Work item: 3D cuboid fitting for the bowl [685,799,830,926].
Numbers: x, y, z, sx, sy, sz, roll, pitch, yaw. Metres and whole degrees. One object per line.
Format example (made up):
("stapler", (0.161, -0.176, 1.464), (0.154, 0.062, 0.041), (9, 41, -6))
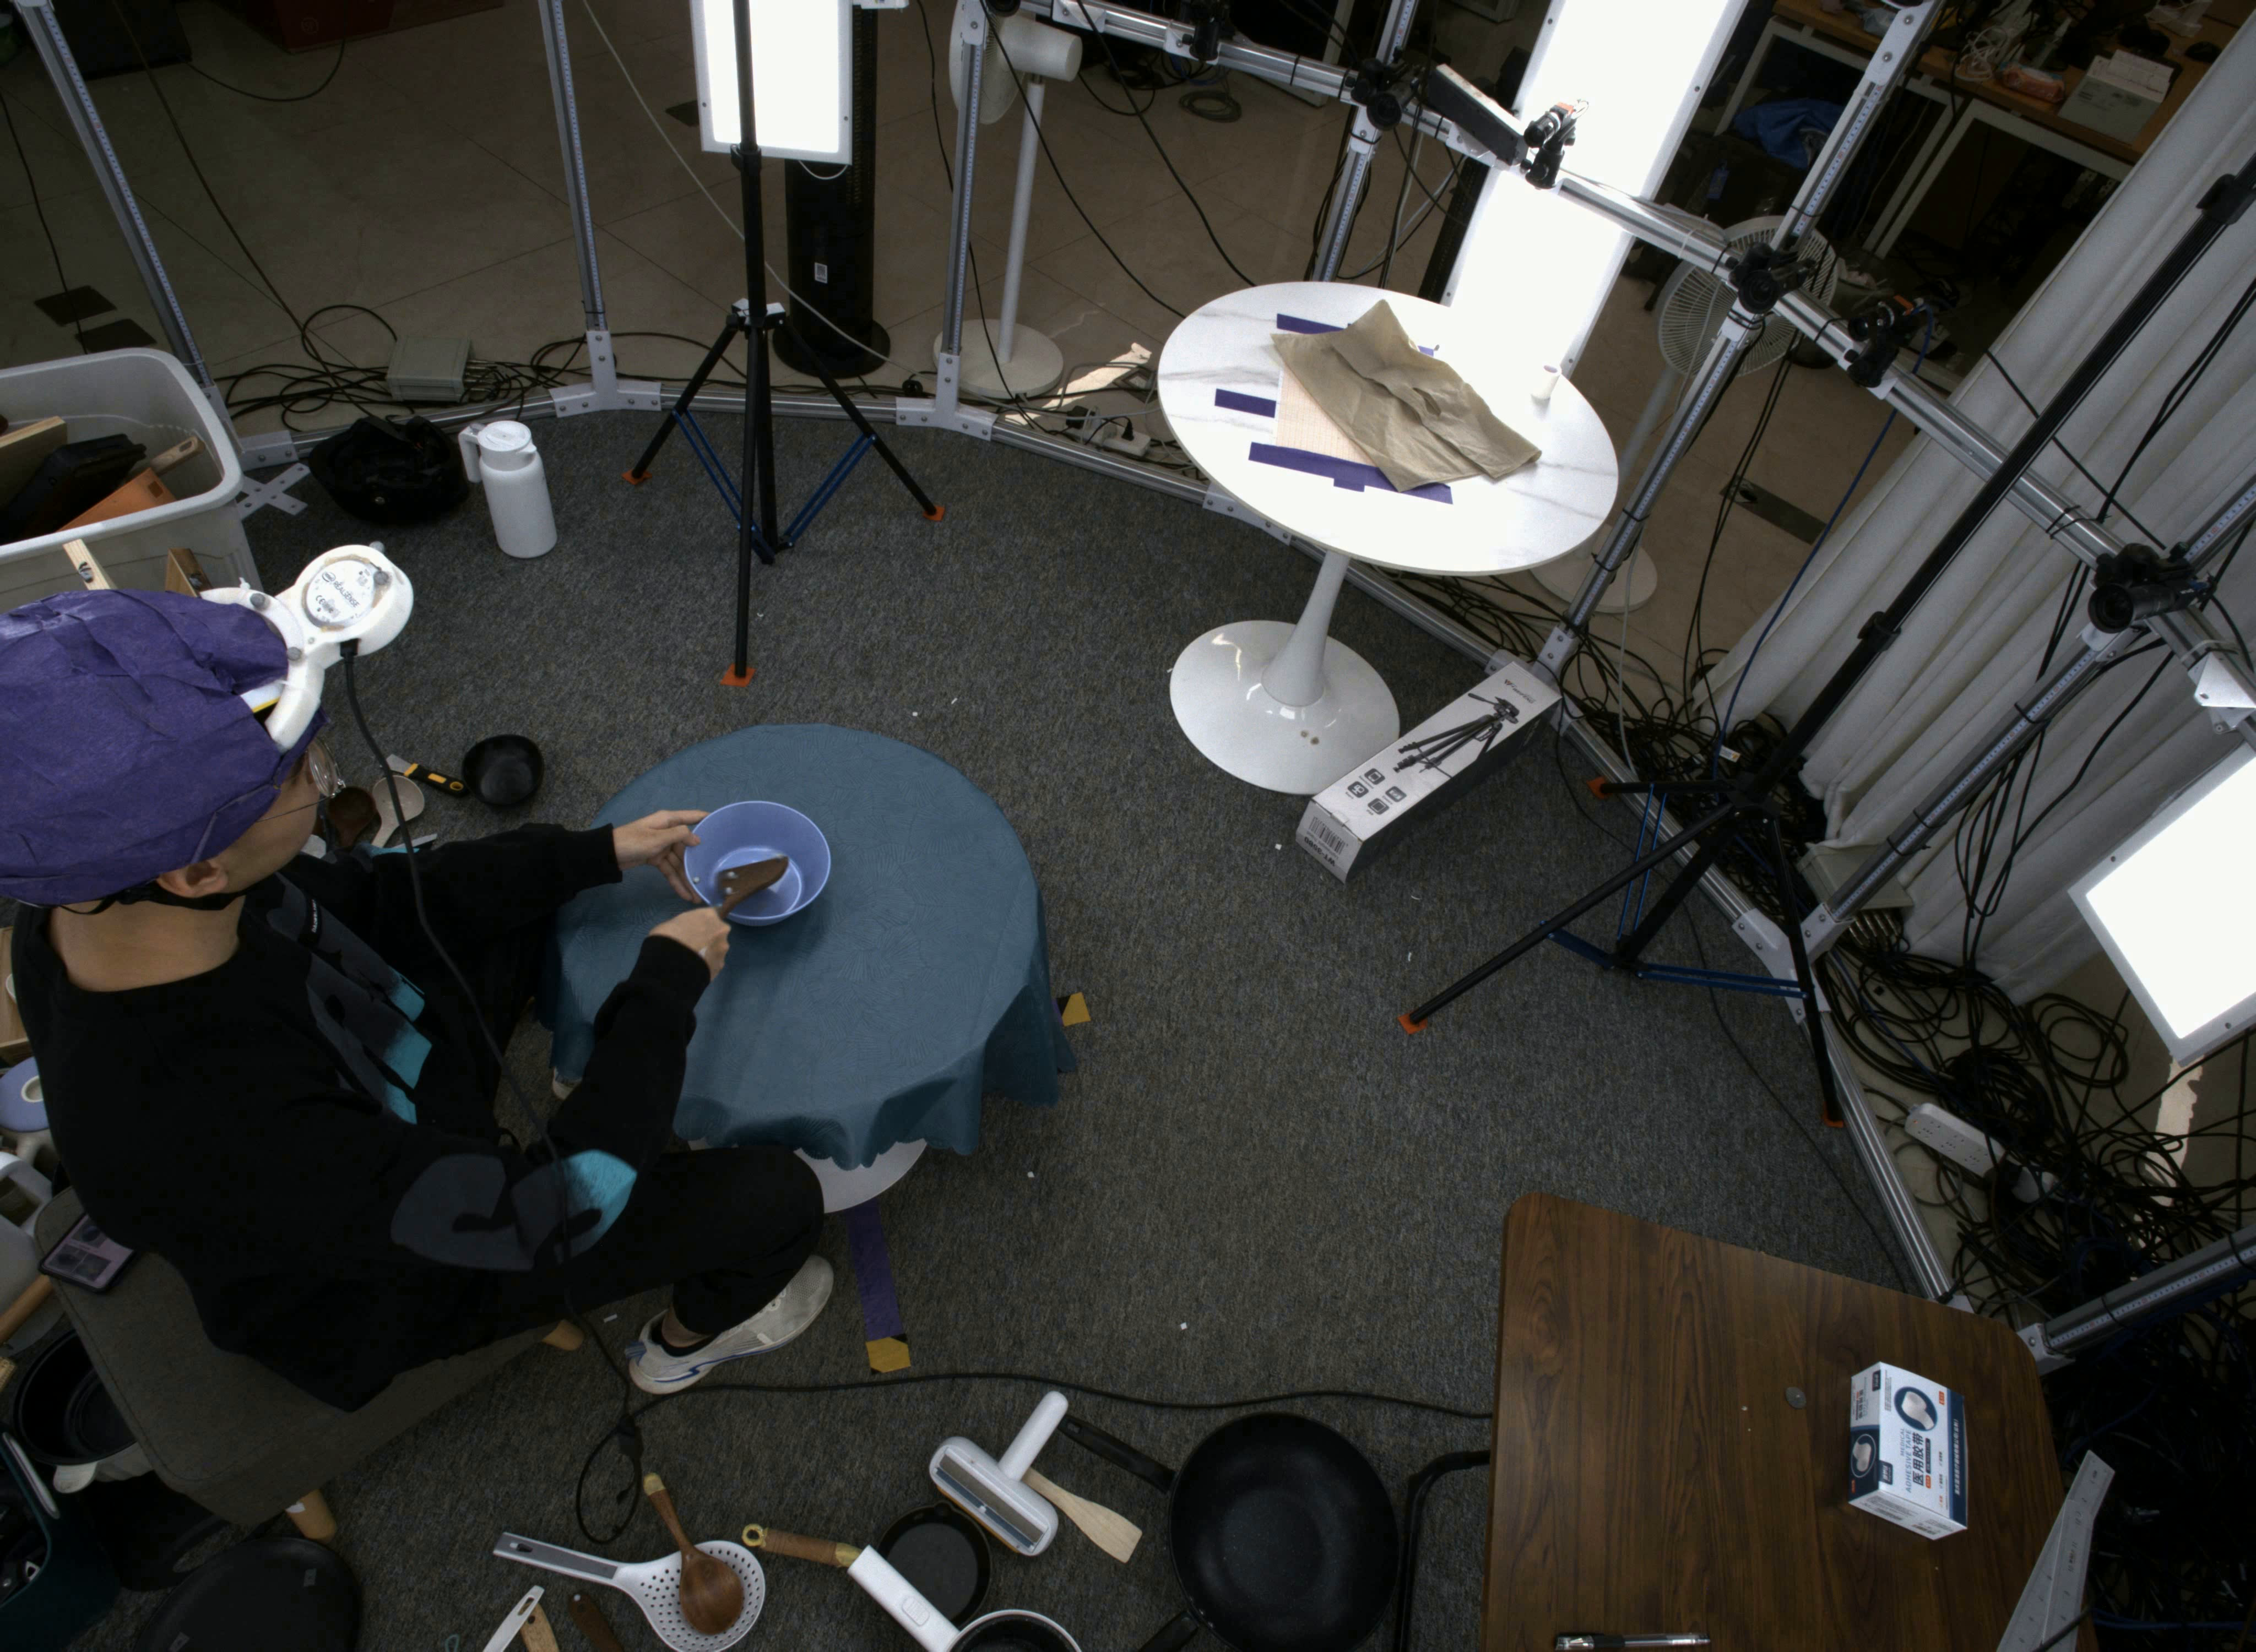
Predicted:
("bowl", (-0.463, 0.056, 1.622), (0.176, 0.071, 0.173), (9, 55, -11))

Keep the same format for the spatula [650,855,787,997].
("spatula", (-0.467, 0.104, 1.451), (0.095, 0.016, 0.379), (-13, 17, 3))
